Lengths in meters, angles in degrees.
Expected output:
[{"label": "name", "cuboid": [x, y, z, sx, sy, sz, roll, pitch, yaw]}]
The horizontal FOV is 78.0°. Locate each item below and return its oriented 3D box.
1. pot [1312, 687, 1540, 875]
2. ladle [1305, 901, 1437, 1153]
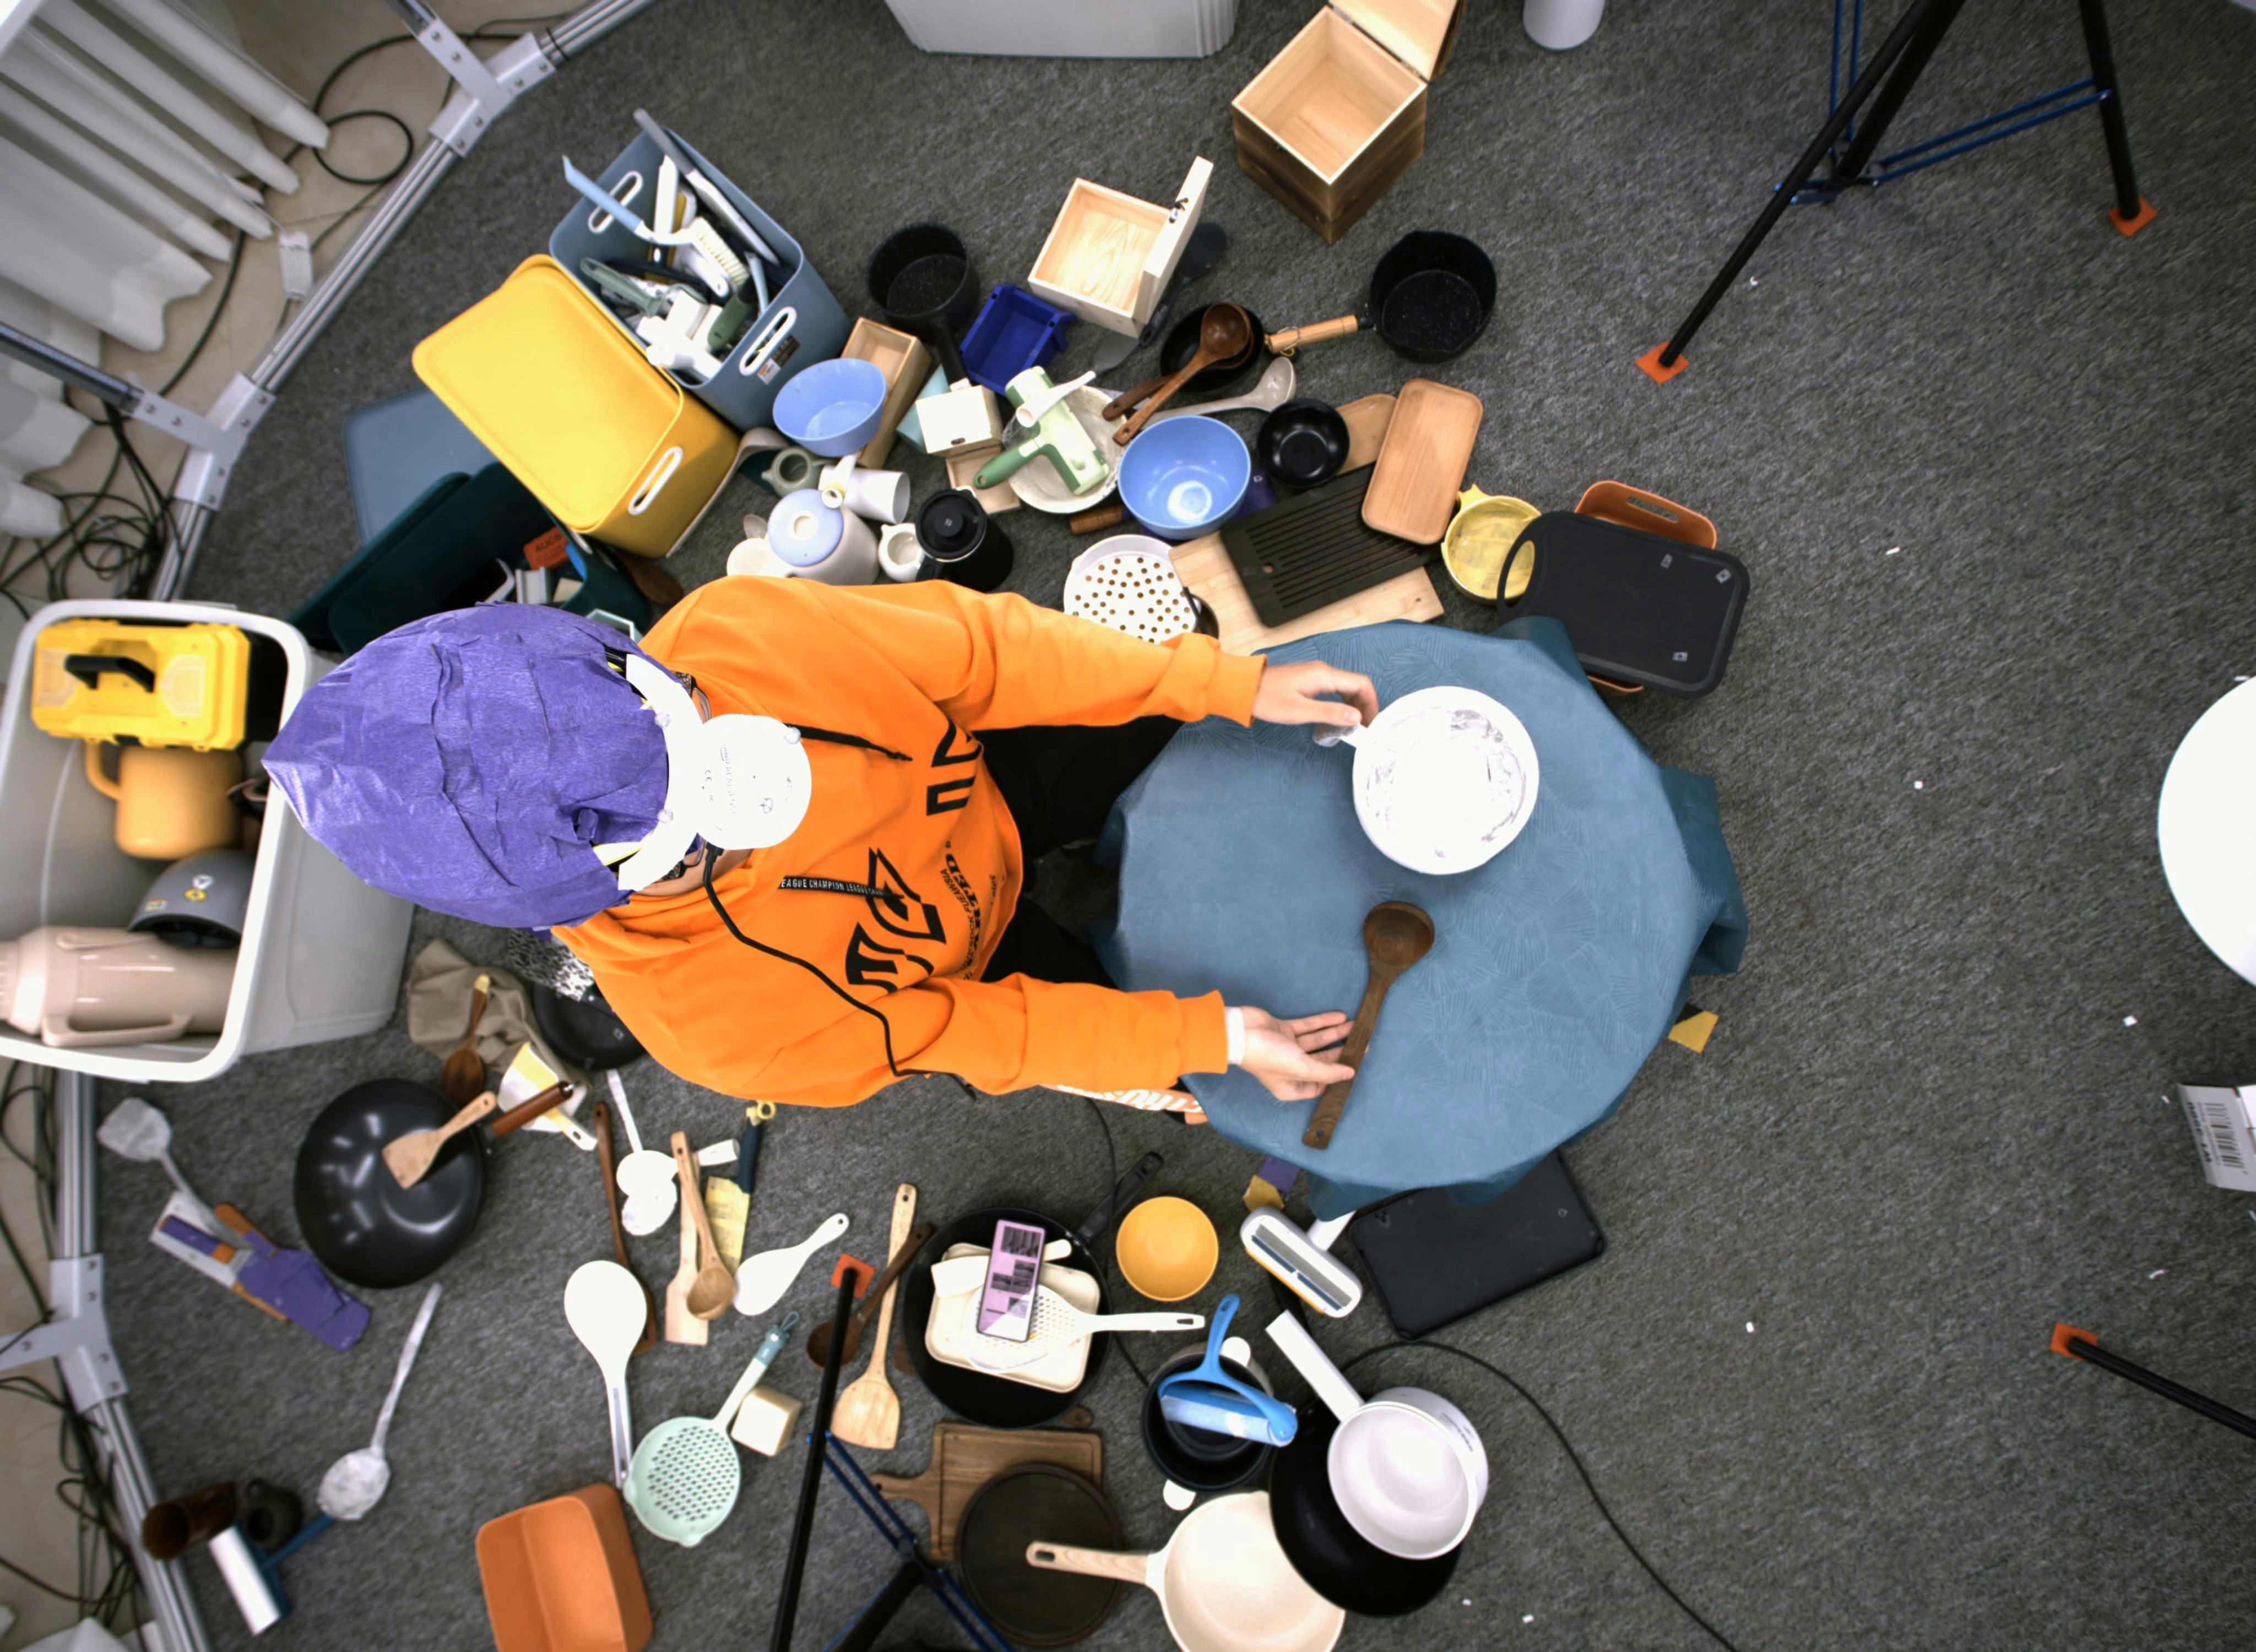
[{"label": "pot", "cuboid": [0.293, -0.055, 1.393, 0.233, 0.137, 0.179, 28, 90, 11]}, {"label": "ladle", "cuboid": [0.241, 0.207, 1.422, 0.076, 0.071, 0.274, 22, 90, 14]}]
